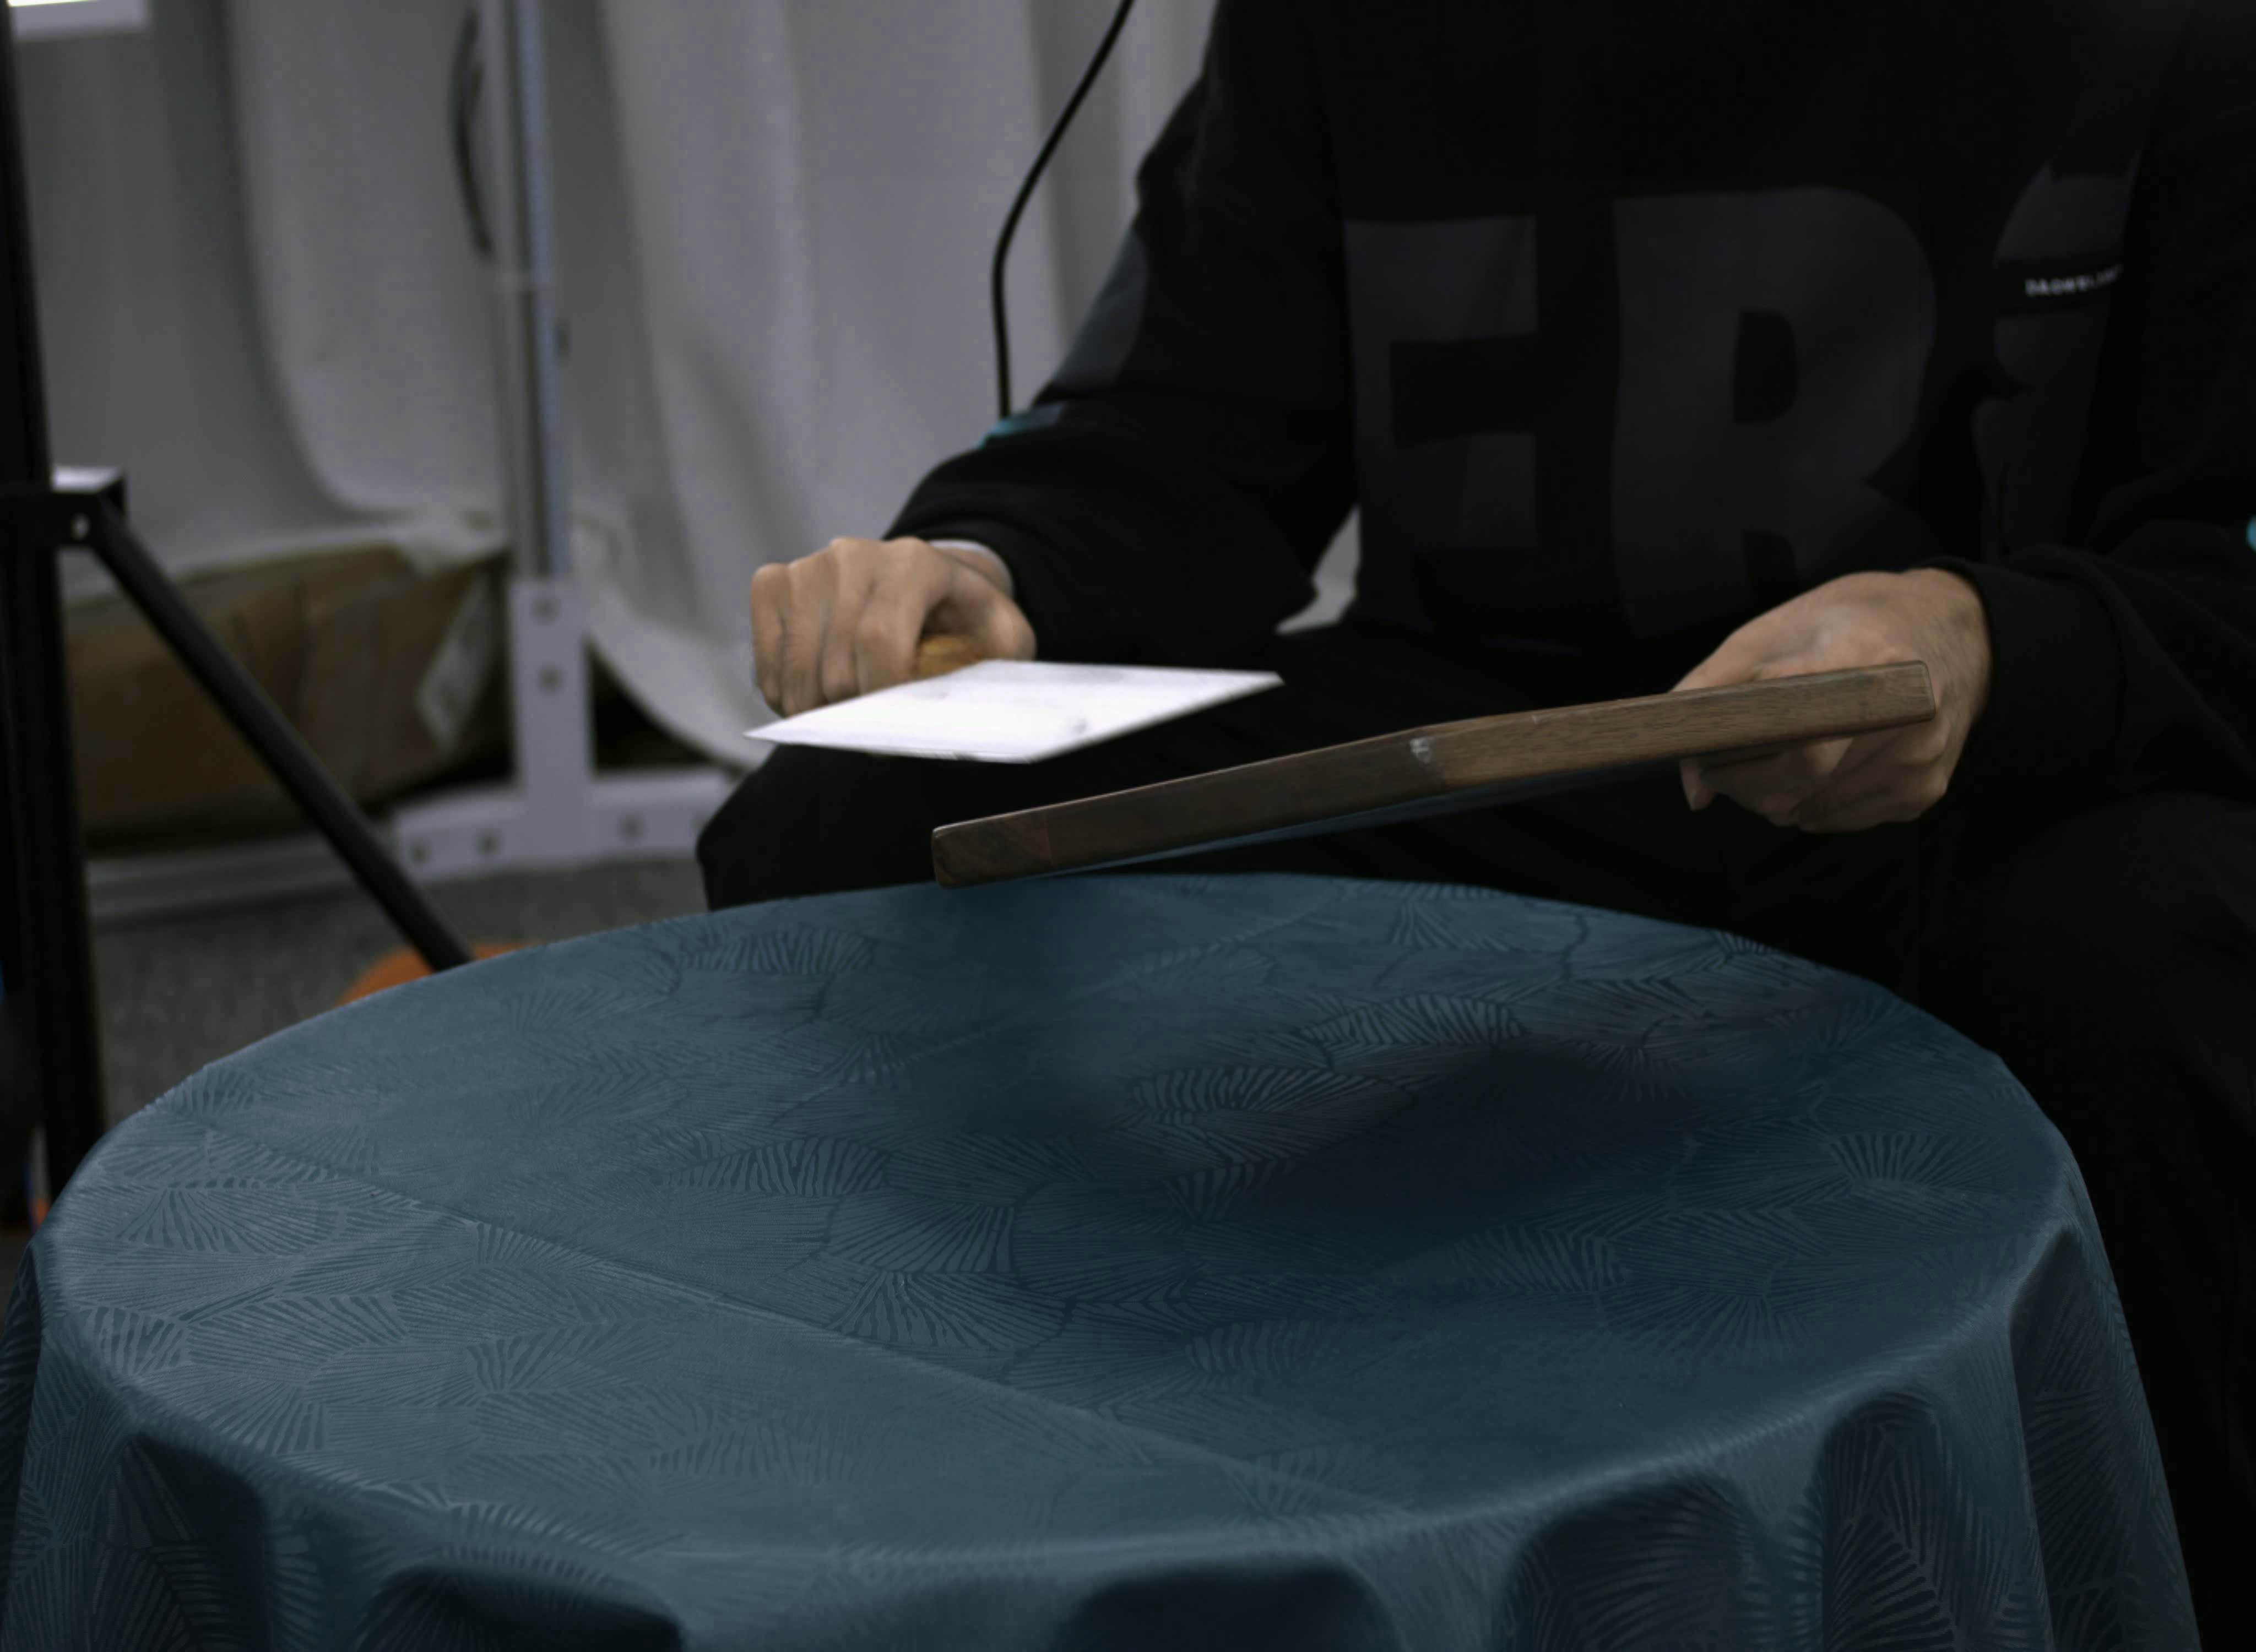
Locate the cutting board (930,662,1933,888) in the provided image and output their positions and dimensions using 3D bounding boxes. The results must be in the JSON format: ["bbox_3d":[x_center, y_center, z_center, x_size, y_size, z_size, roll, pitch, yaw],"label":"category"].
[{"bbox_3d":[0.122,-0.019,1.591,0.205,0.023,0.343,-11,-2,40],"label":"cutting board"}]

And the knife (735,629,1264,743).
[{"bbox_3d":[-0.068,-0.042,1.675,0.091,0.021,0.311,-19,11,-27],"label":"knife"}]
